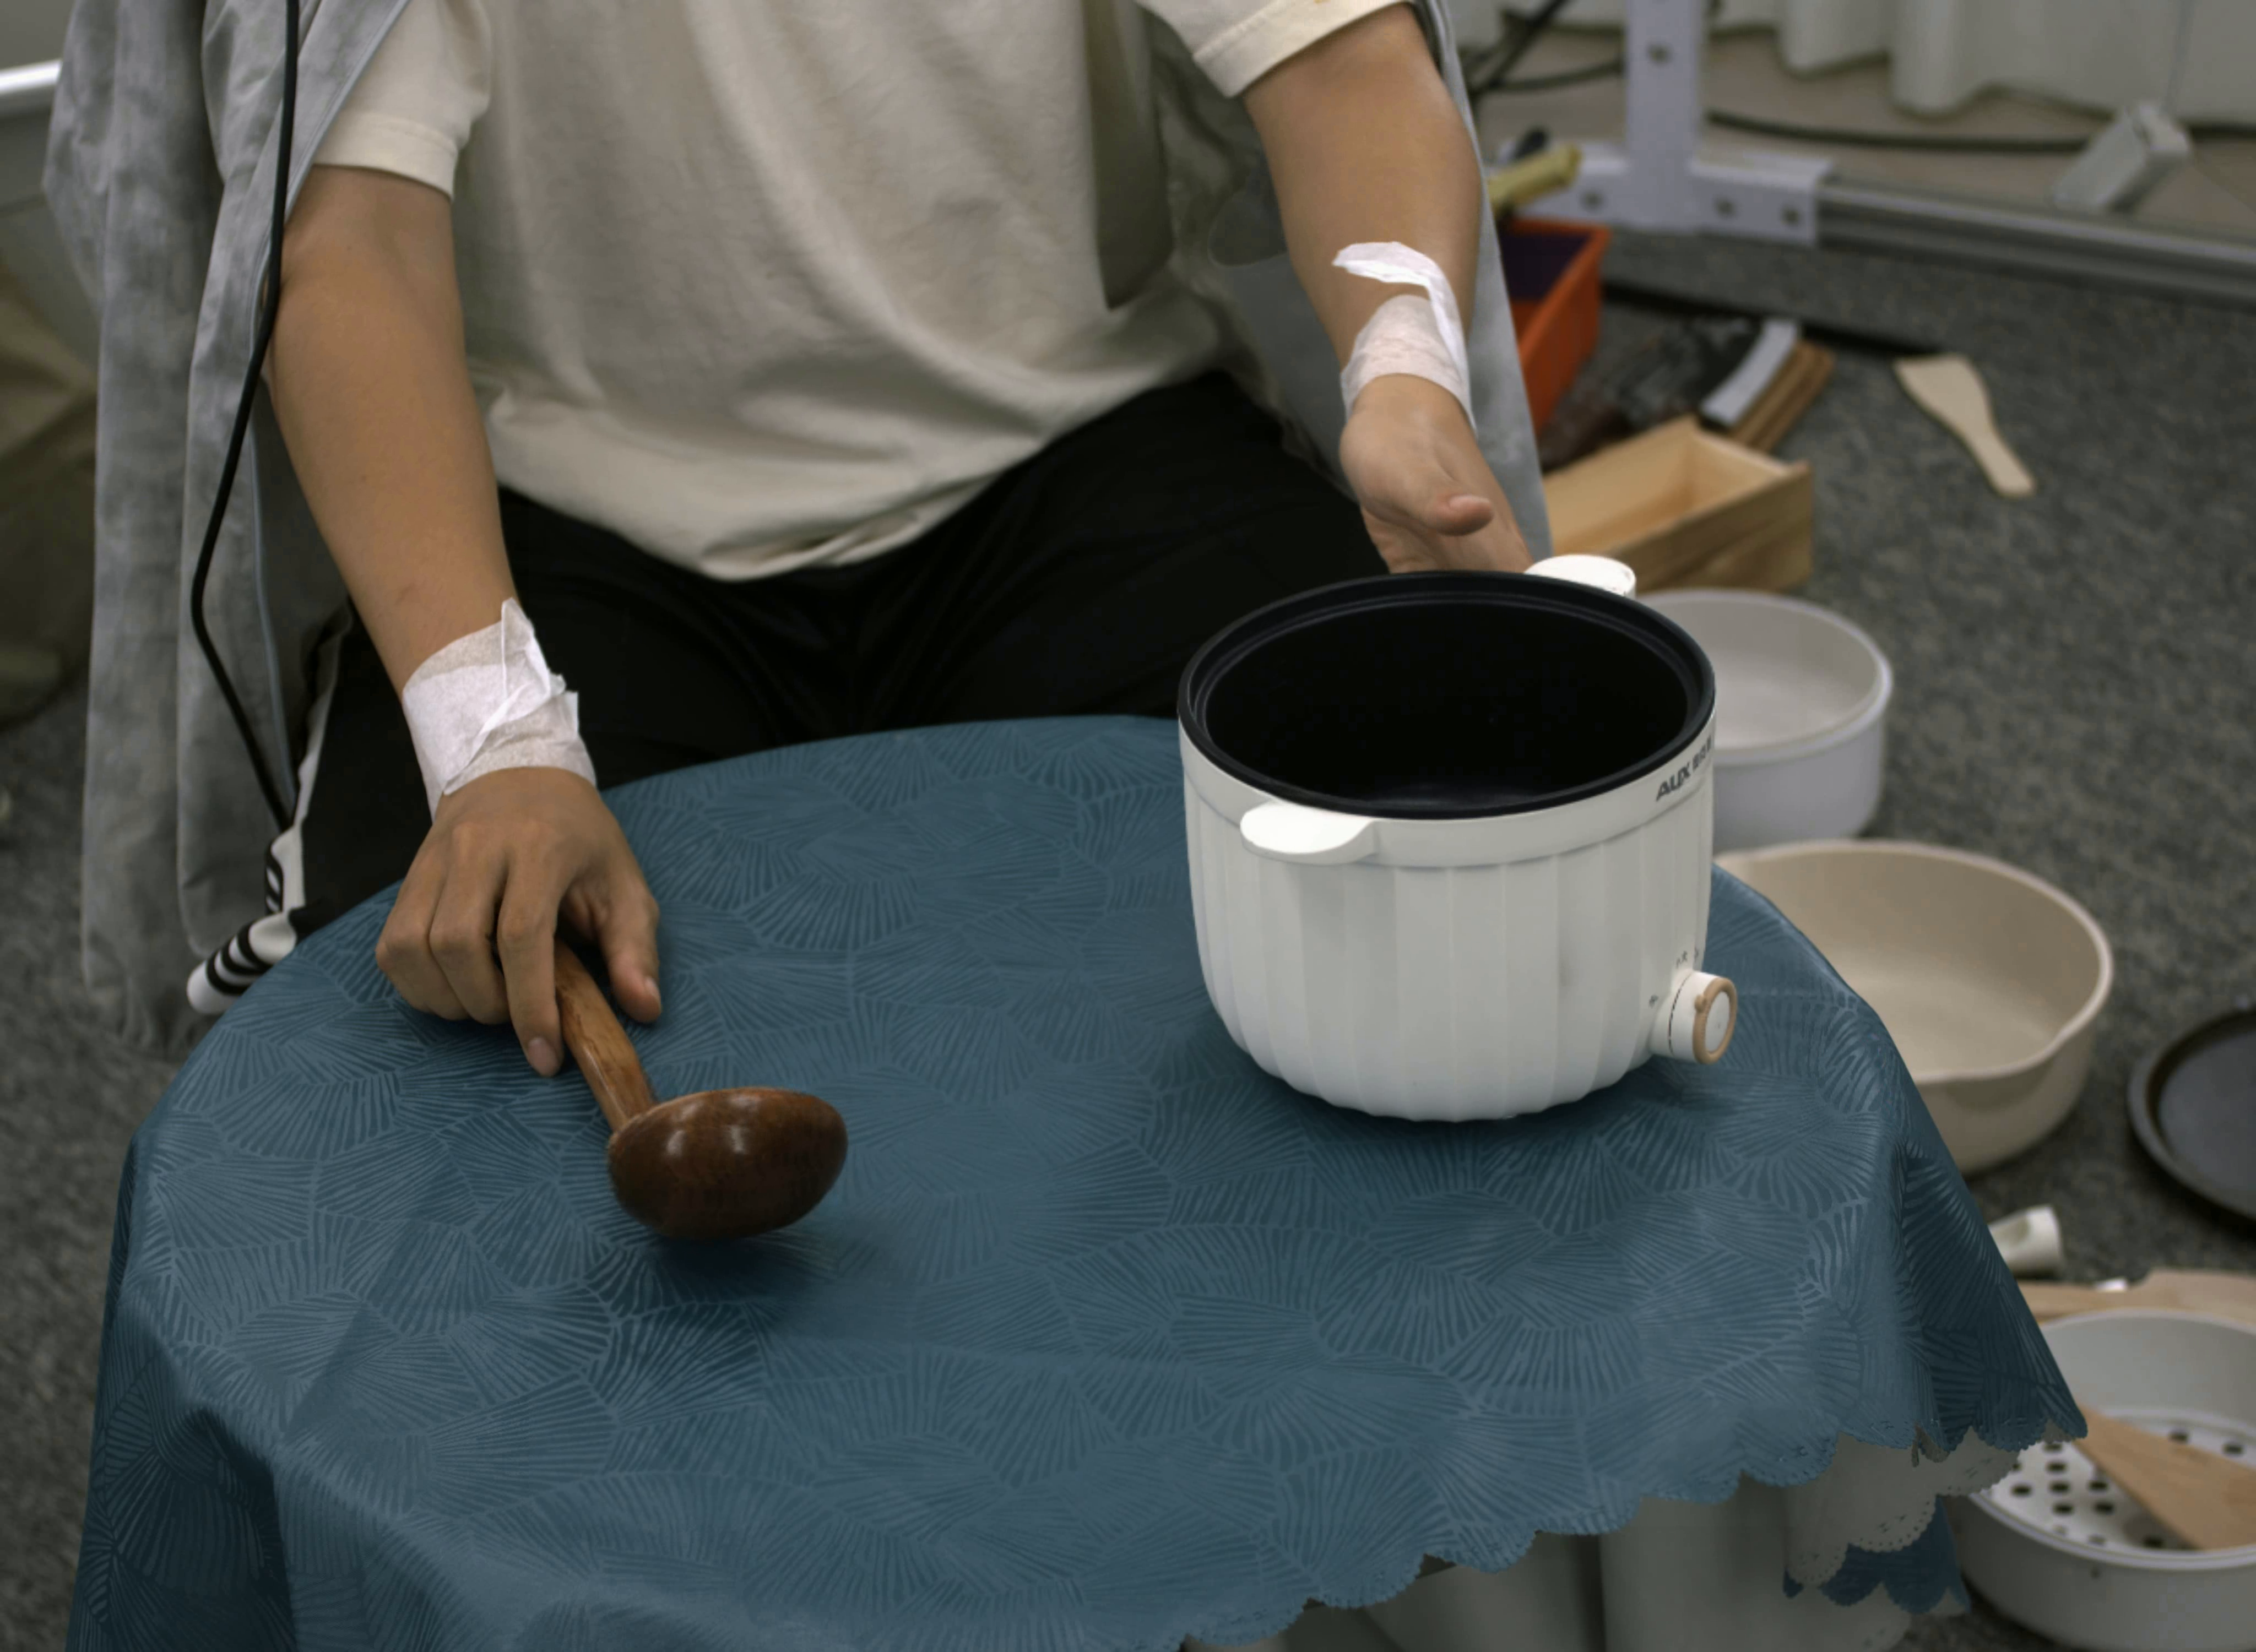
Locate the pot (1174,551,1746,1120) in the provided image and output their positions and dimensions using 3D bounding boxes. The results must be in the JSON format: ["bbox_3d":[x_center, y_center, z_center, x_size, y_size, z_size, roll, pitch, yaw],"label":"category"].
[{"bbox_3d":[0.115,0.011,1.913,0.189,0.141,0.244,8,30,29],"label":"pot"}]

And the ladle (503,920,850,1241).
[{"bbox_3d":[-0.166,0.065,1.904,0.082,0.076,0.276,10,20,-25],"label":"ladle"}]
